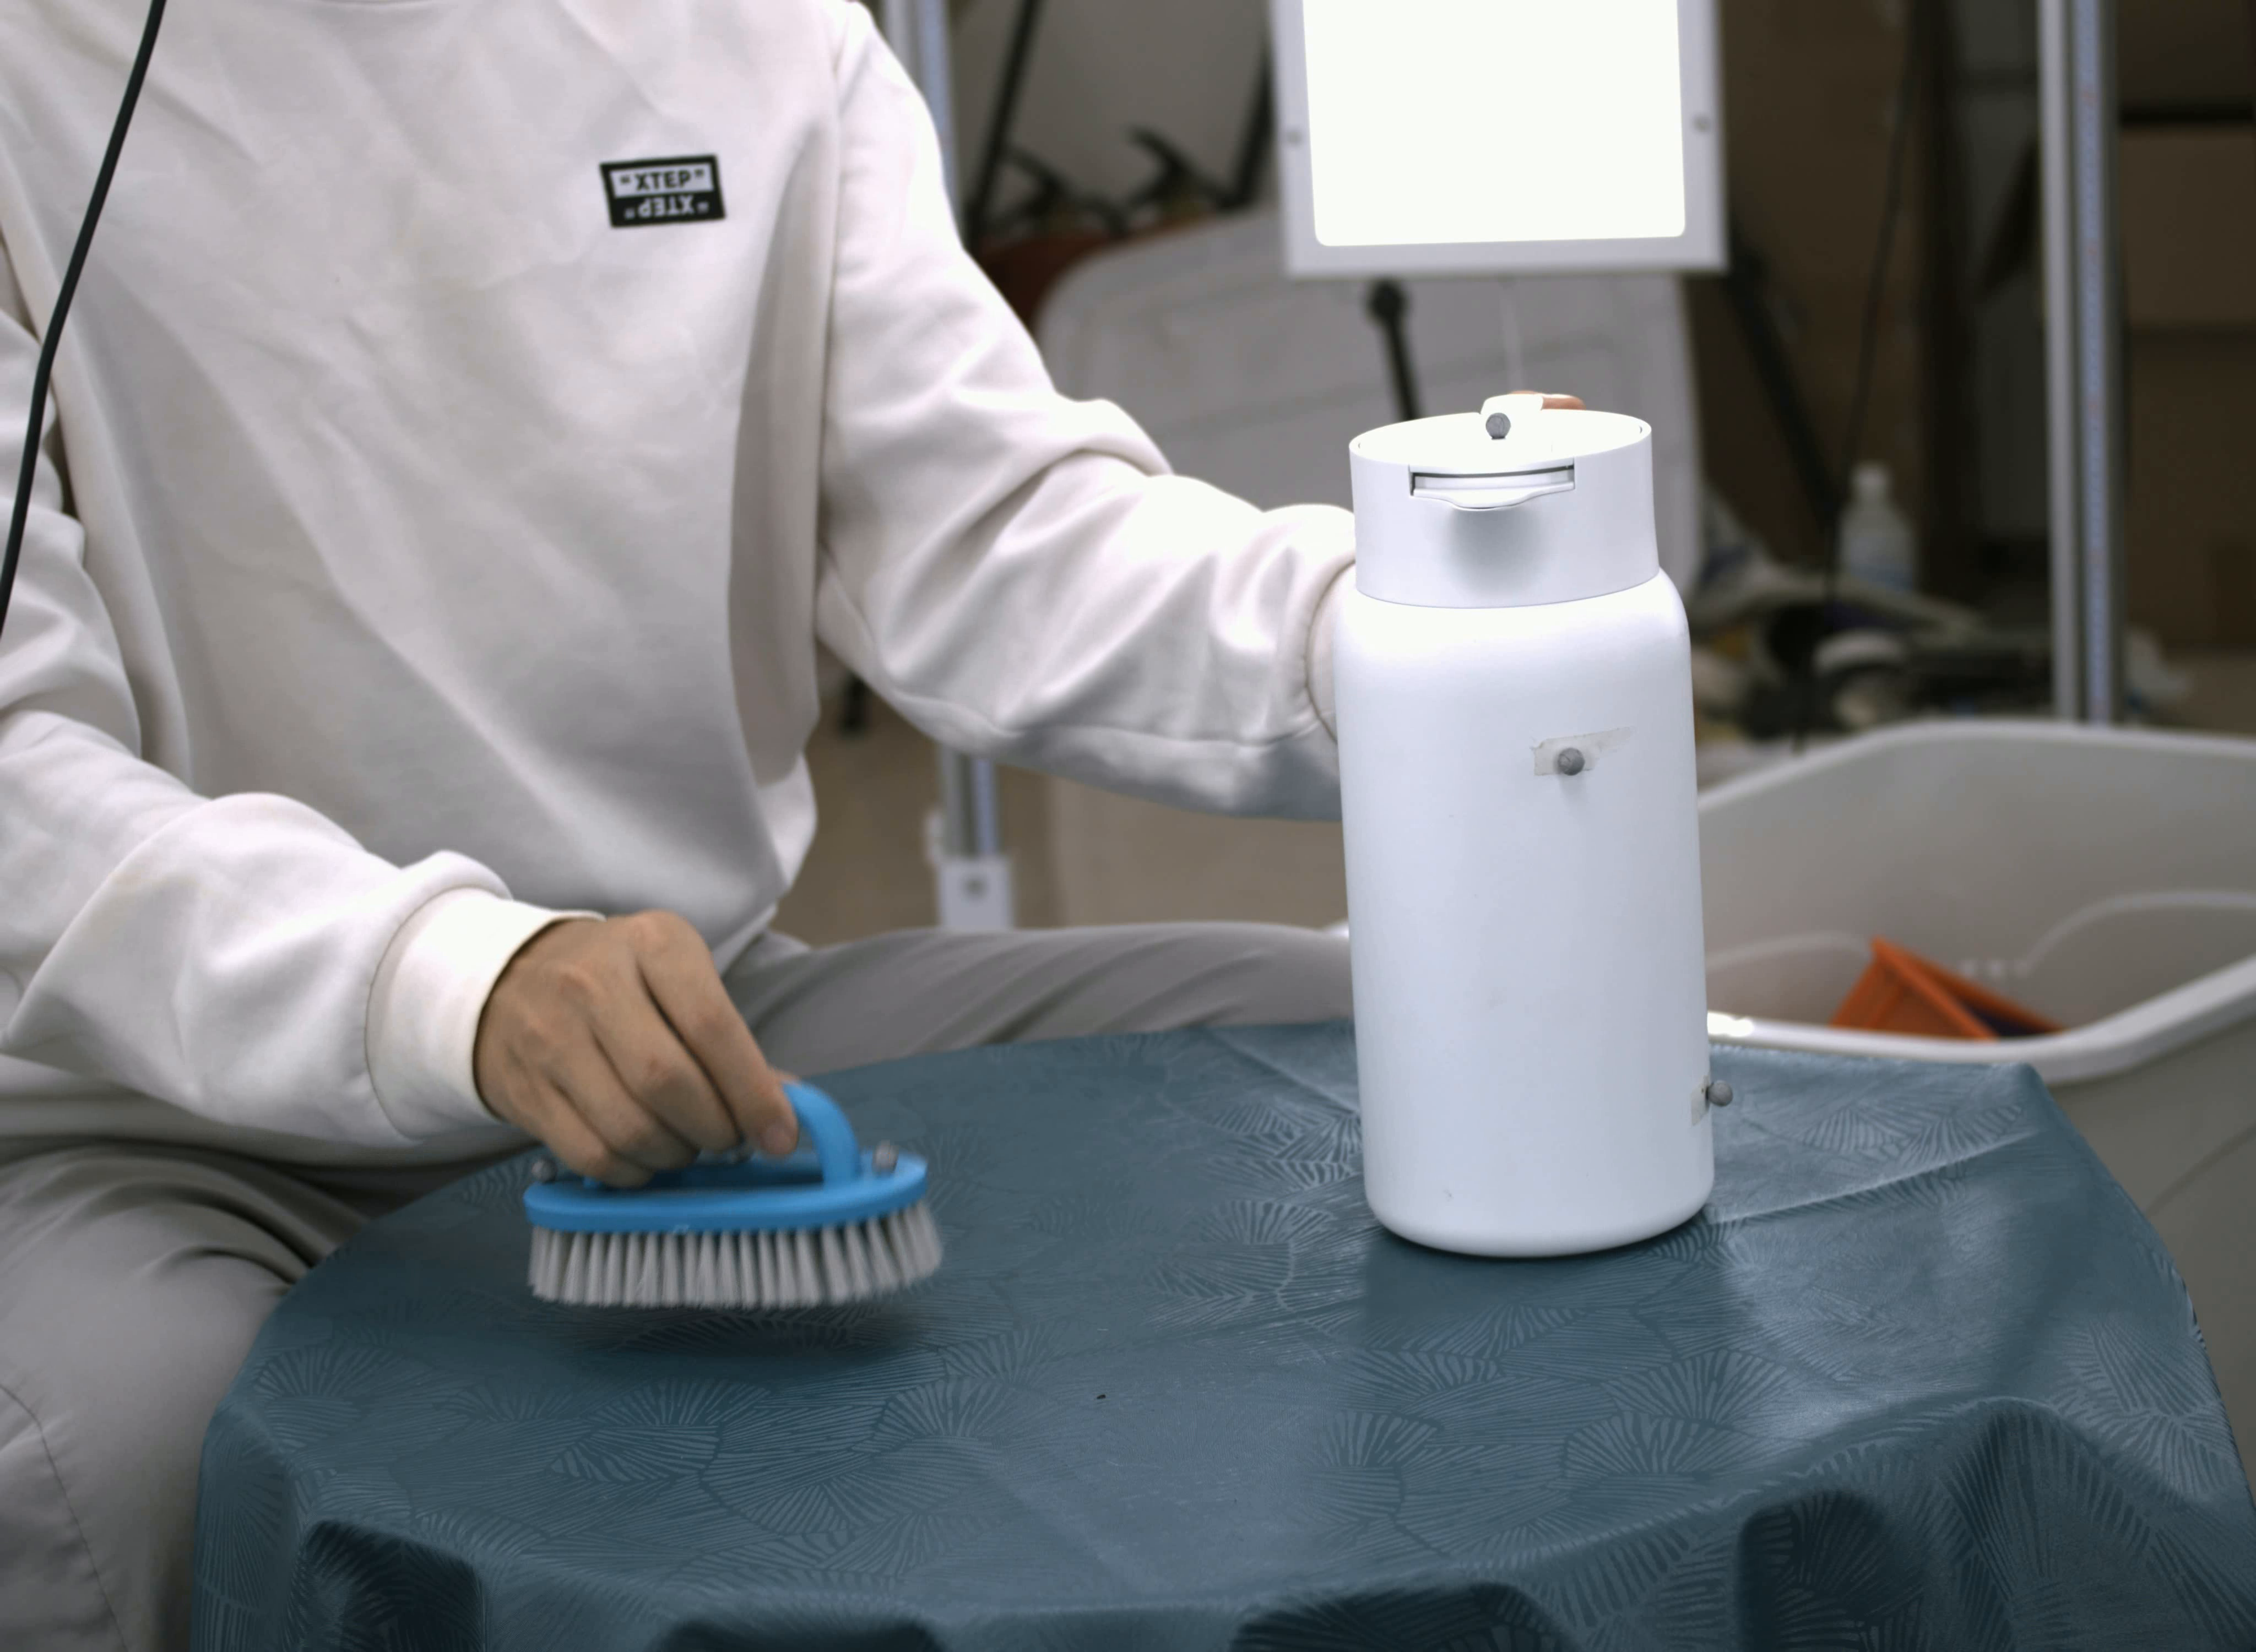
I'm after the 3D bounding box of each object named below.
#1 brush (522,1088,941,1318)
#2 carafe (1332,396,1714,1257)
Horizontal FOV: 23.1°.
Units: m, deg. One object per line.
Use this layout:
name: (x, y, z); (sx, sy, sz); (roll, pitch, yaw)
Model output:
brush: (-0.132, 0.116, 1.786); (0.144, 0.064, 0.083); (-2, 16, 25)
carafe: (0.130, -0.004, 1.822); (0.124, 0.270, 0.171); (-4, 13, 9)
